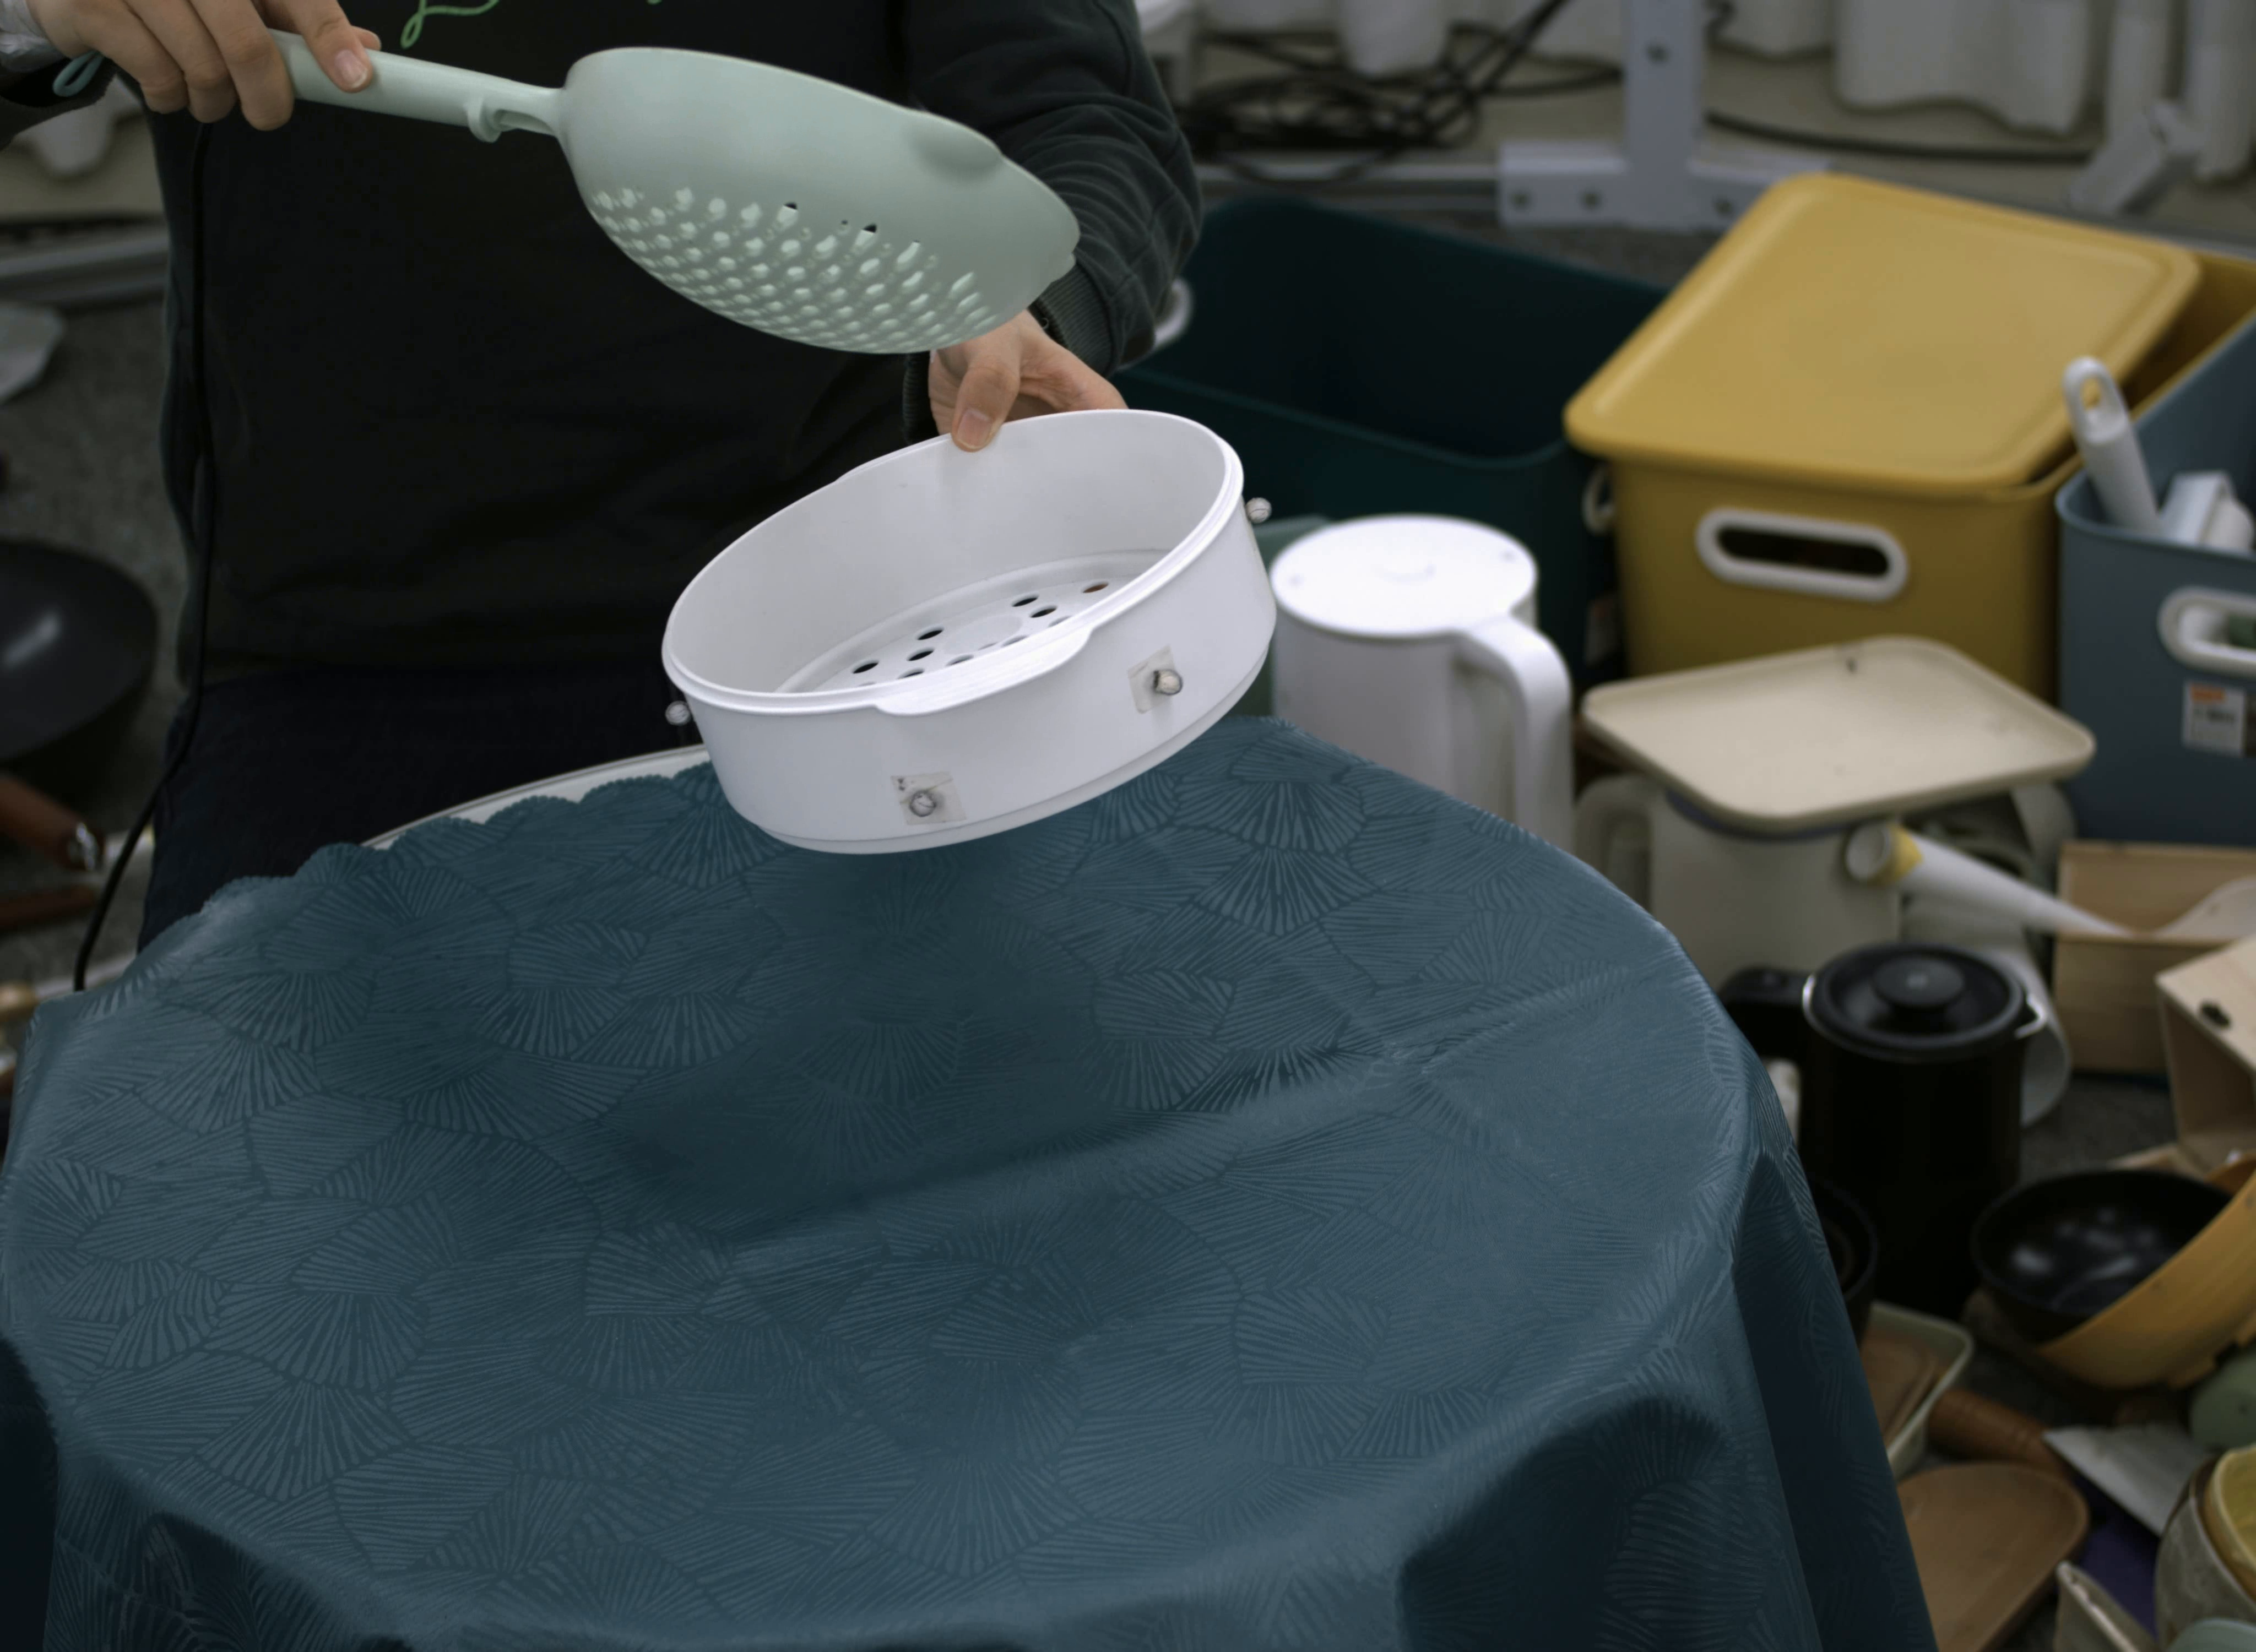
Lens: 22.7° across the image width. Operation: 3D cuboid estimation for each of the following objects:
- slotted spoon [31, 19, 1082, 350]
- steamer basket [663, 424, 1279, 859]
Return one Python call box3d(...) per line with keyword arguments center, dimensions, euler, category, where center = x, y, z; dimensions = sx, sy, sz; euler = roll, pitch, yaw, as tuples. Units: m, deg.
box3d(center=(-0.190, -0.223, 1.829), dimensions=(0.357, 0.076, 0.168), euler=(20, -9, 18), category="slotted spoon")
box3d(center=(-0.049, -0.060, 1.854), dimensions=(0.201, 0.068, 0.233), euler=(-18, 24, -2), category="steamer basket")
